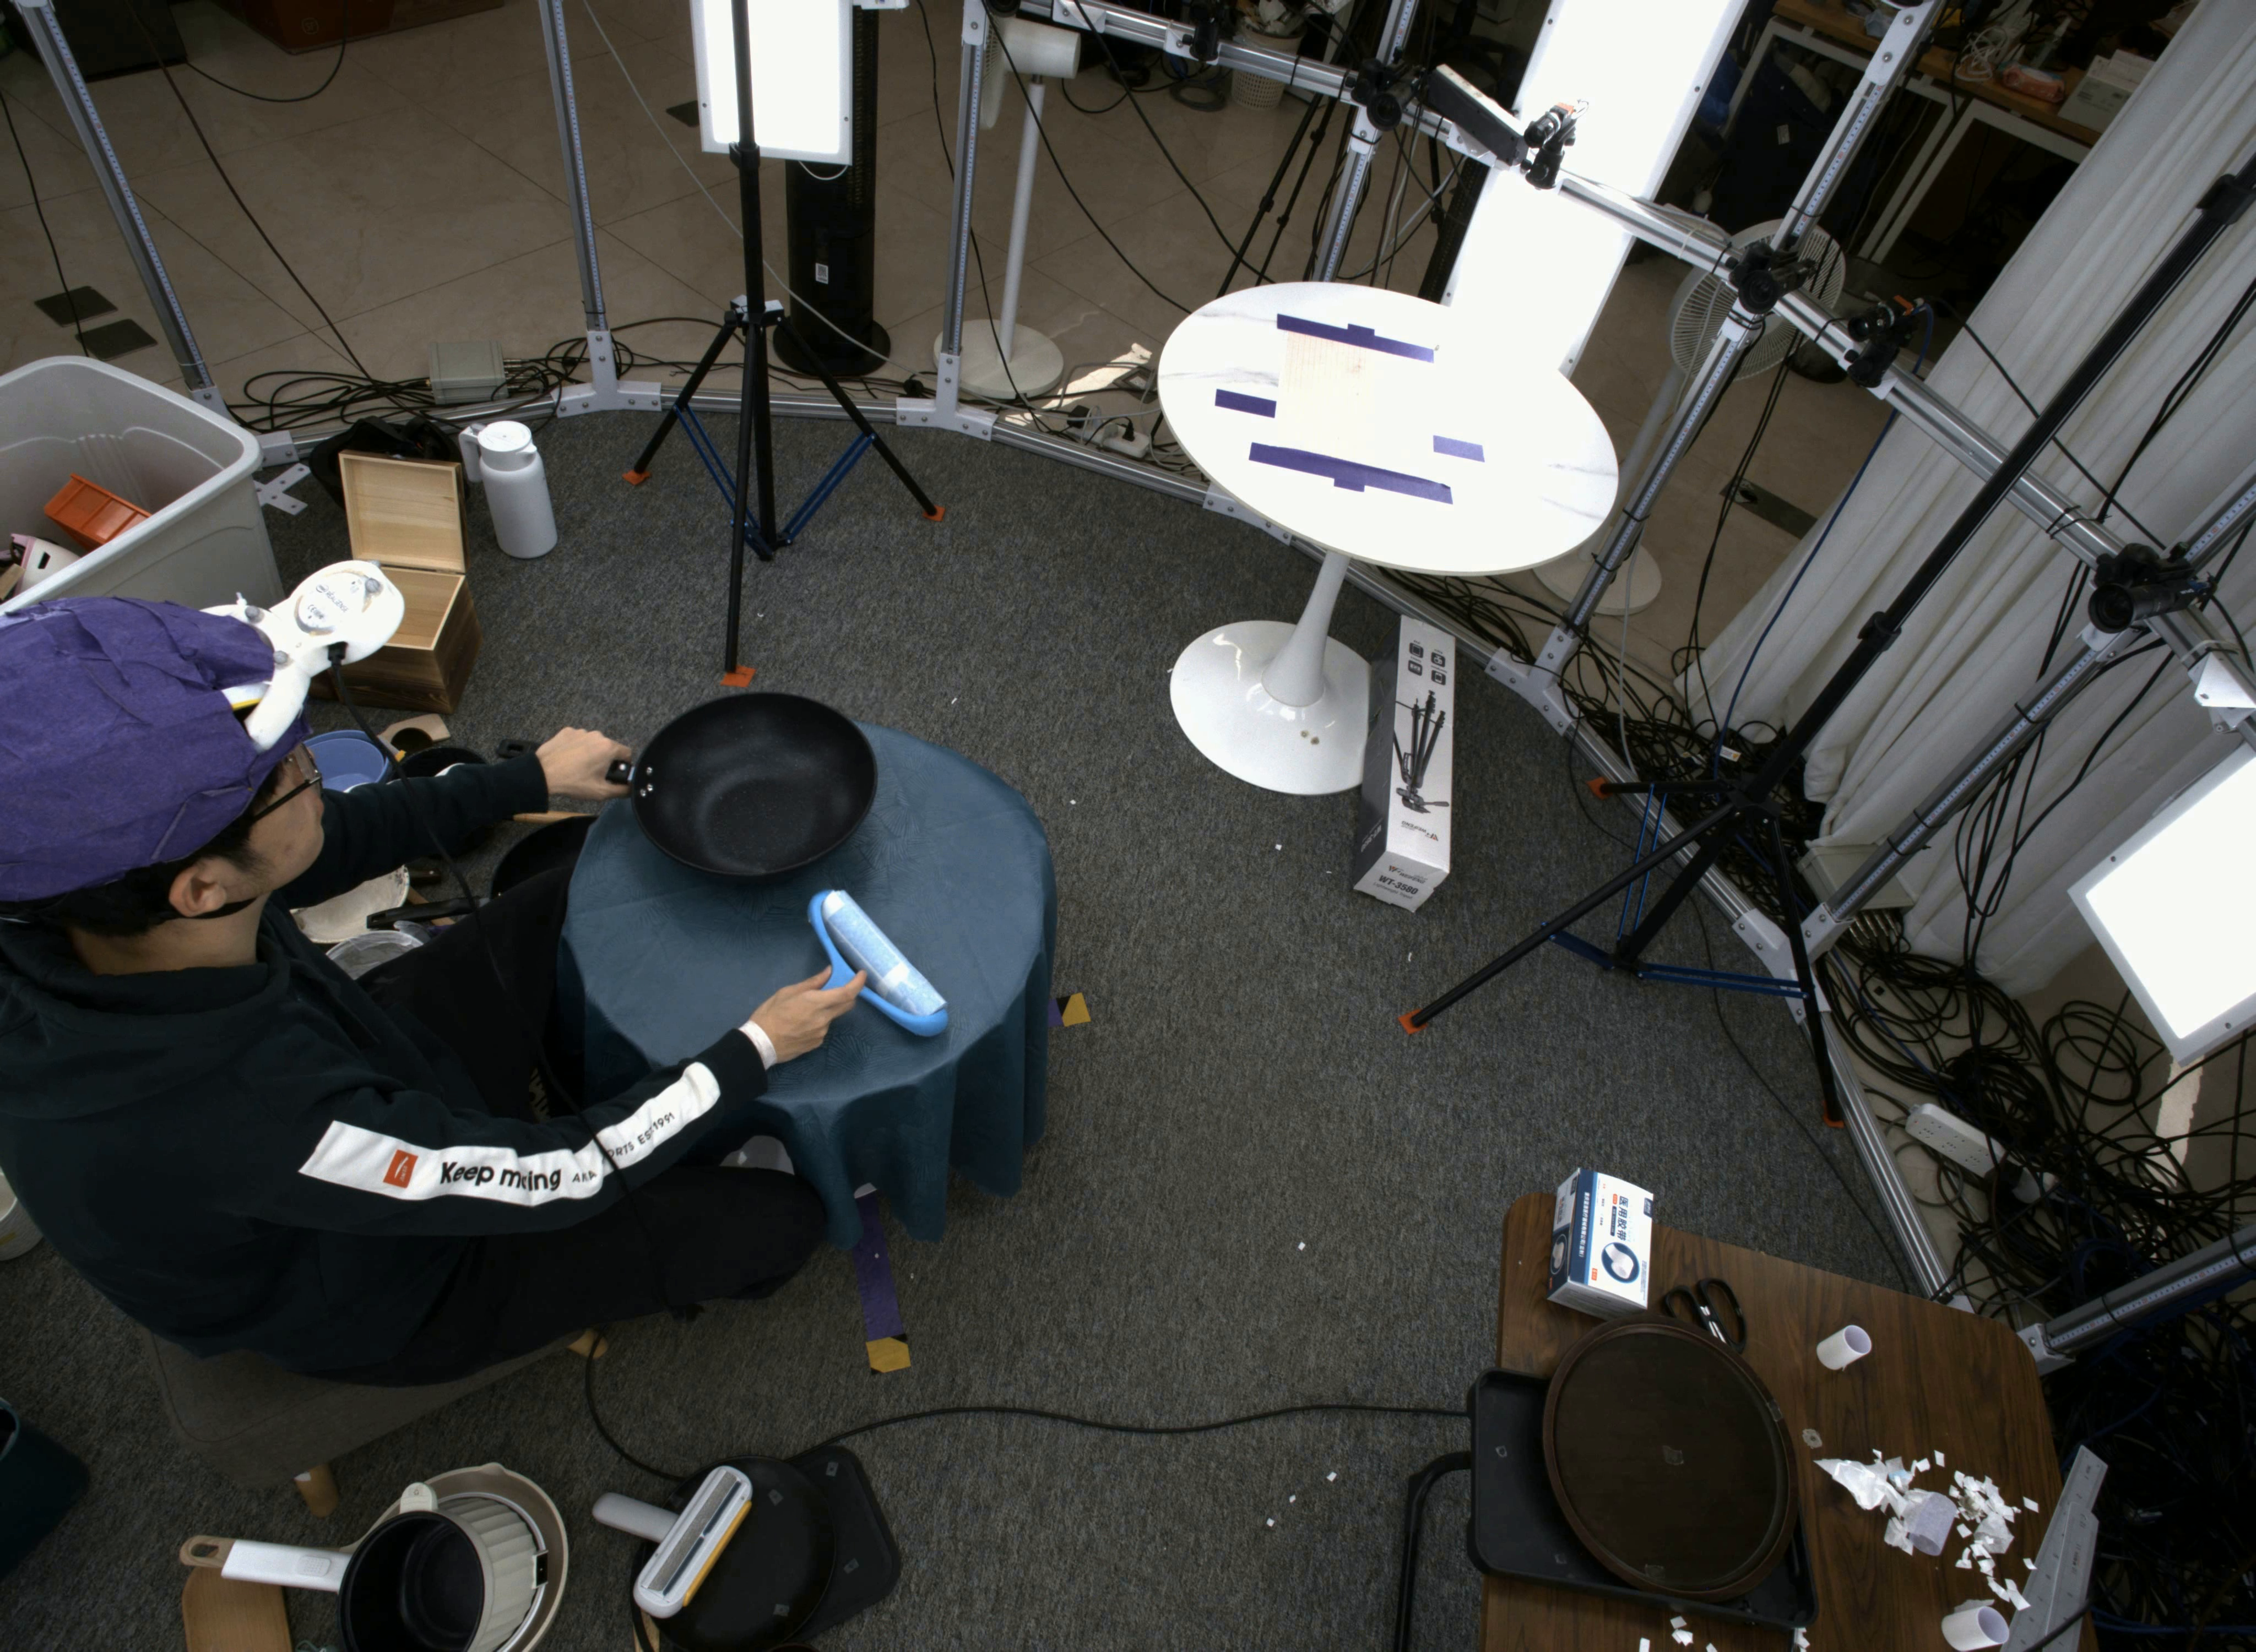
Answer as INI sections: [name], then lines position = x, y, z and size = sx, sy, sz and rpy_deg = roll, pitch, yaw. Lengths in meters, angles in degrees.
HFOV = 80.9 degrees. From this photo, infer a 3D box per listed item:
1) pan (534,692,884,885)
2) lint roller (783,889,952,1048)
[pan]
position = -0.553, -0.049, 1.665
size = 0.475, 0.114, 0.304
rpy_deg = 4, 51, -7
[lint roller]
position = -0.337, 0.193, 1.557
size = 0.227, 0.068, 0.180
rpy_deg = 43, 55, 5
